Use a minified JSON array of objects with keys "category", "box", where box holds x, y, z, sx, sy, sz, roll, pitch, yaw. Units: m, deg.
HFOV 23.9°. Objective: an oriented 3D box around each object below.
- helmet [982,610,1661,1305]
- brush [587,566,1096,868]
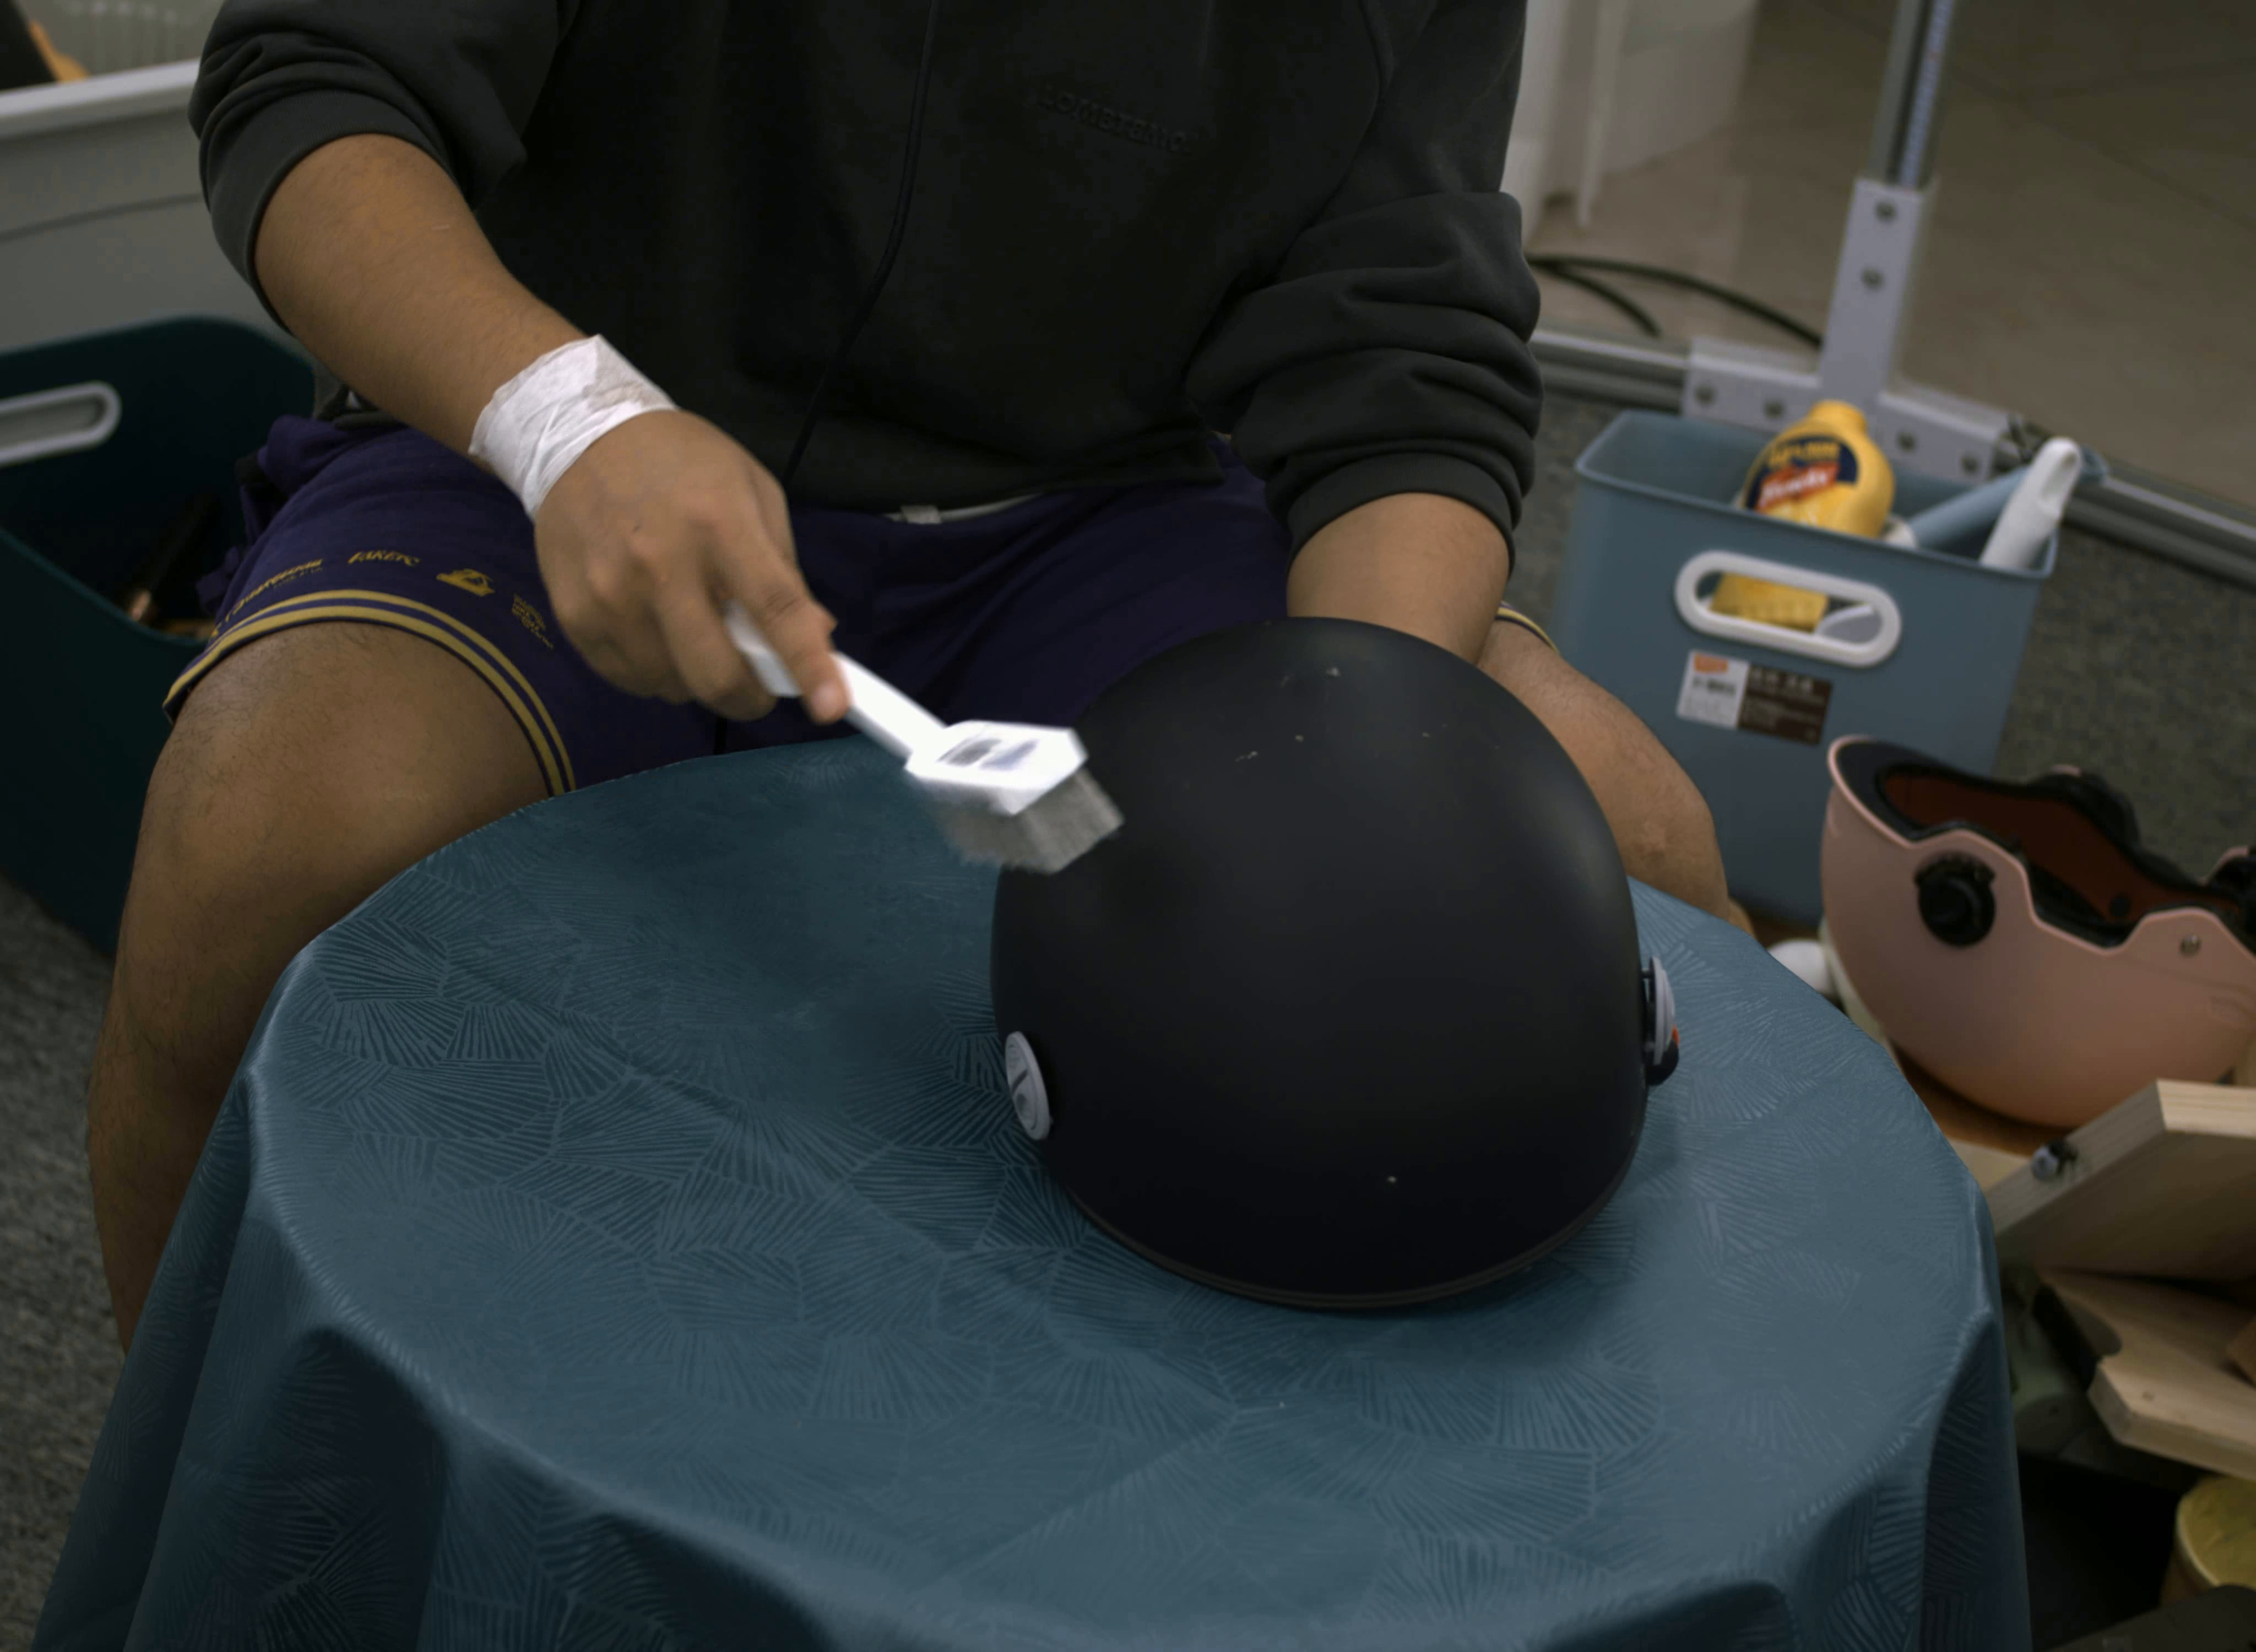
[{"category":"helmet","box":[0.062,0.025,1.816,0.229,0.166,0.275,-6,33,-5]},{"category":"brush","box":[-0.099,-0.036,1.783,0.034,0.050,0.245,-40,39,-24]}]
